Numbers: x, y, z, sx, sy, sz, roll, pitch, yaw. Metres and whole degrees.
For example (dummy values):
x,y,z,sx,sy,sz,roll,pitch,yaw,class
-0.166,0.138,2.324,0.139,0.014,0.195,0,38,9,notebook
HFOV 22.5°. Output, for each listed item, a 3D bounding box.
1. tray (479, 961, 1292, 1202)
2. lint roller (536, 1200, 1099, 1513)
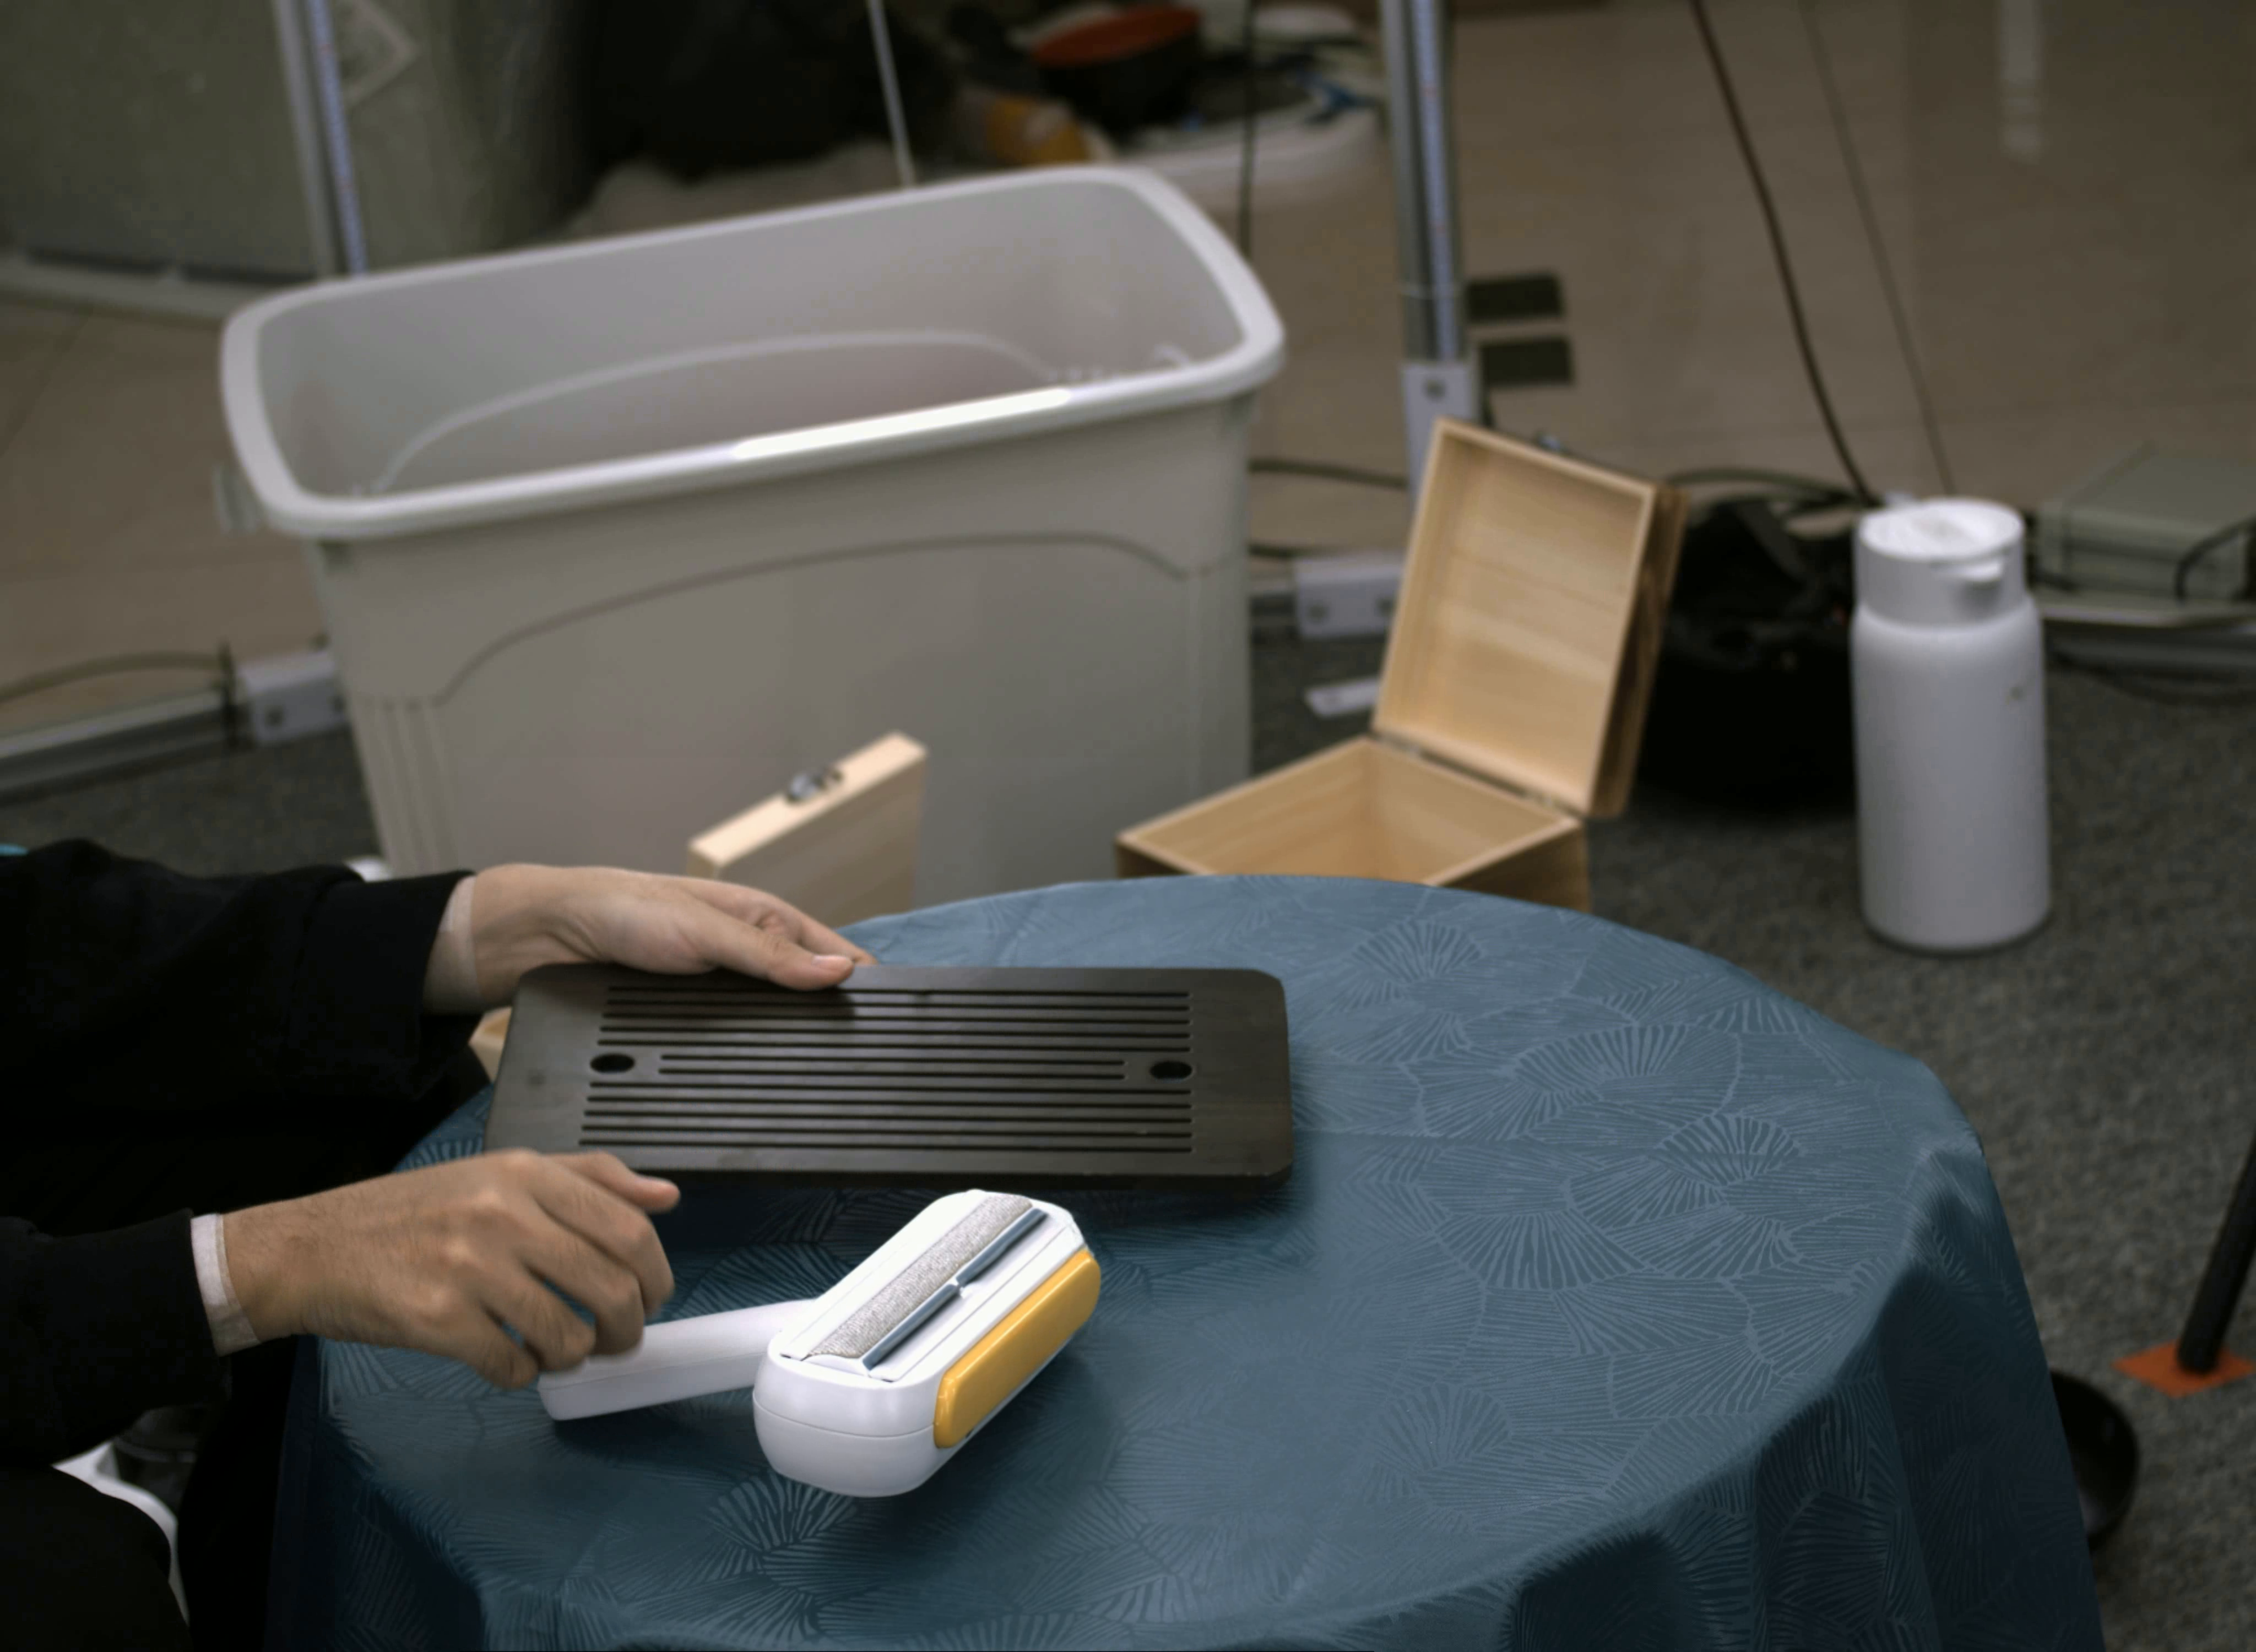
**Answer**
x,y,z,sx,sy,sz,roll,pitch,yaw,class
-0.091,0.098,2.183,0.305,0.019,0.167,0,27,0,tray
-0.124,0.184,1.997,0.192,0.075,0.191,4,21,25,lint roller
